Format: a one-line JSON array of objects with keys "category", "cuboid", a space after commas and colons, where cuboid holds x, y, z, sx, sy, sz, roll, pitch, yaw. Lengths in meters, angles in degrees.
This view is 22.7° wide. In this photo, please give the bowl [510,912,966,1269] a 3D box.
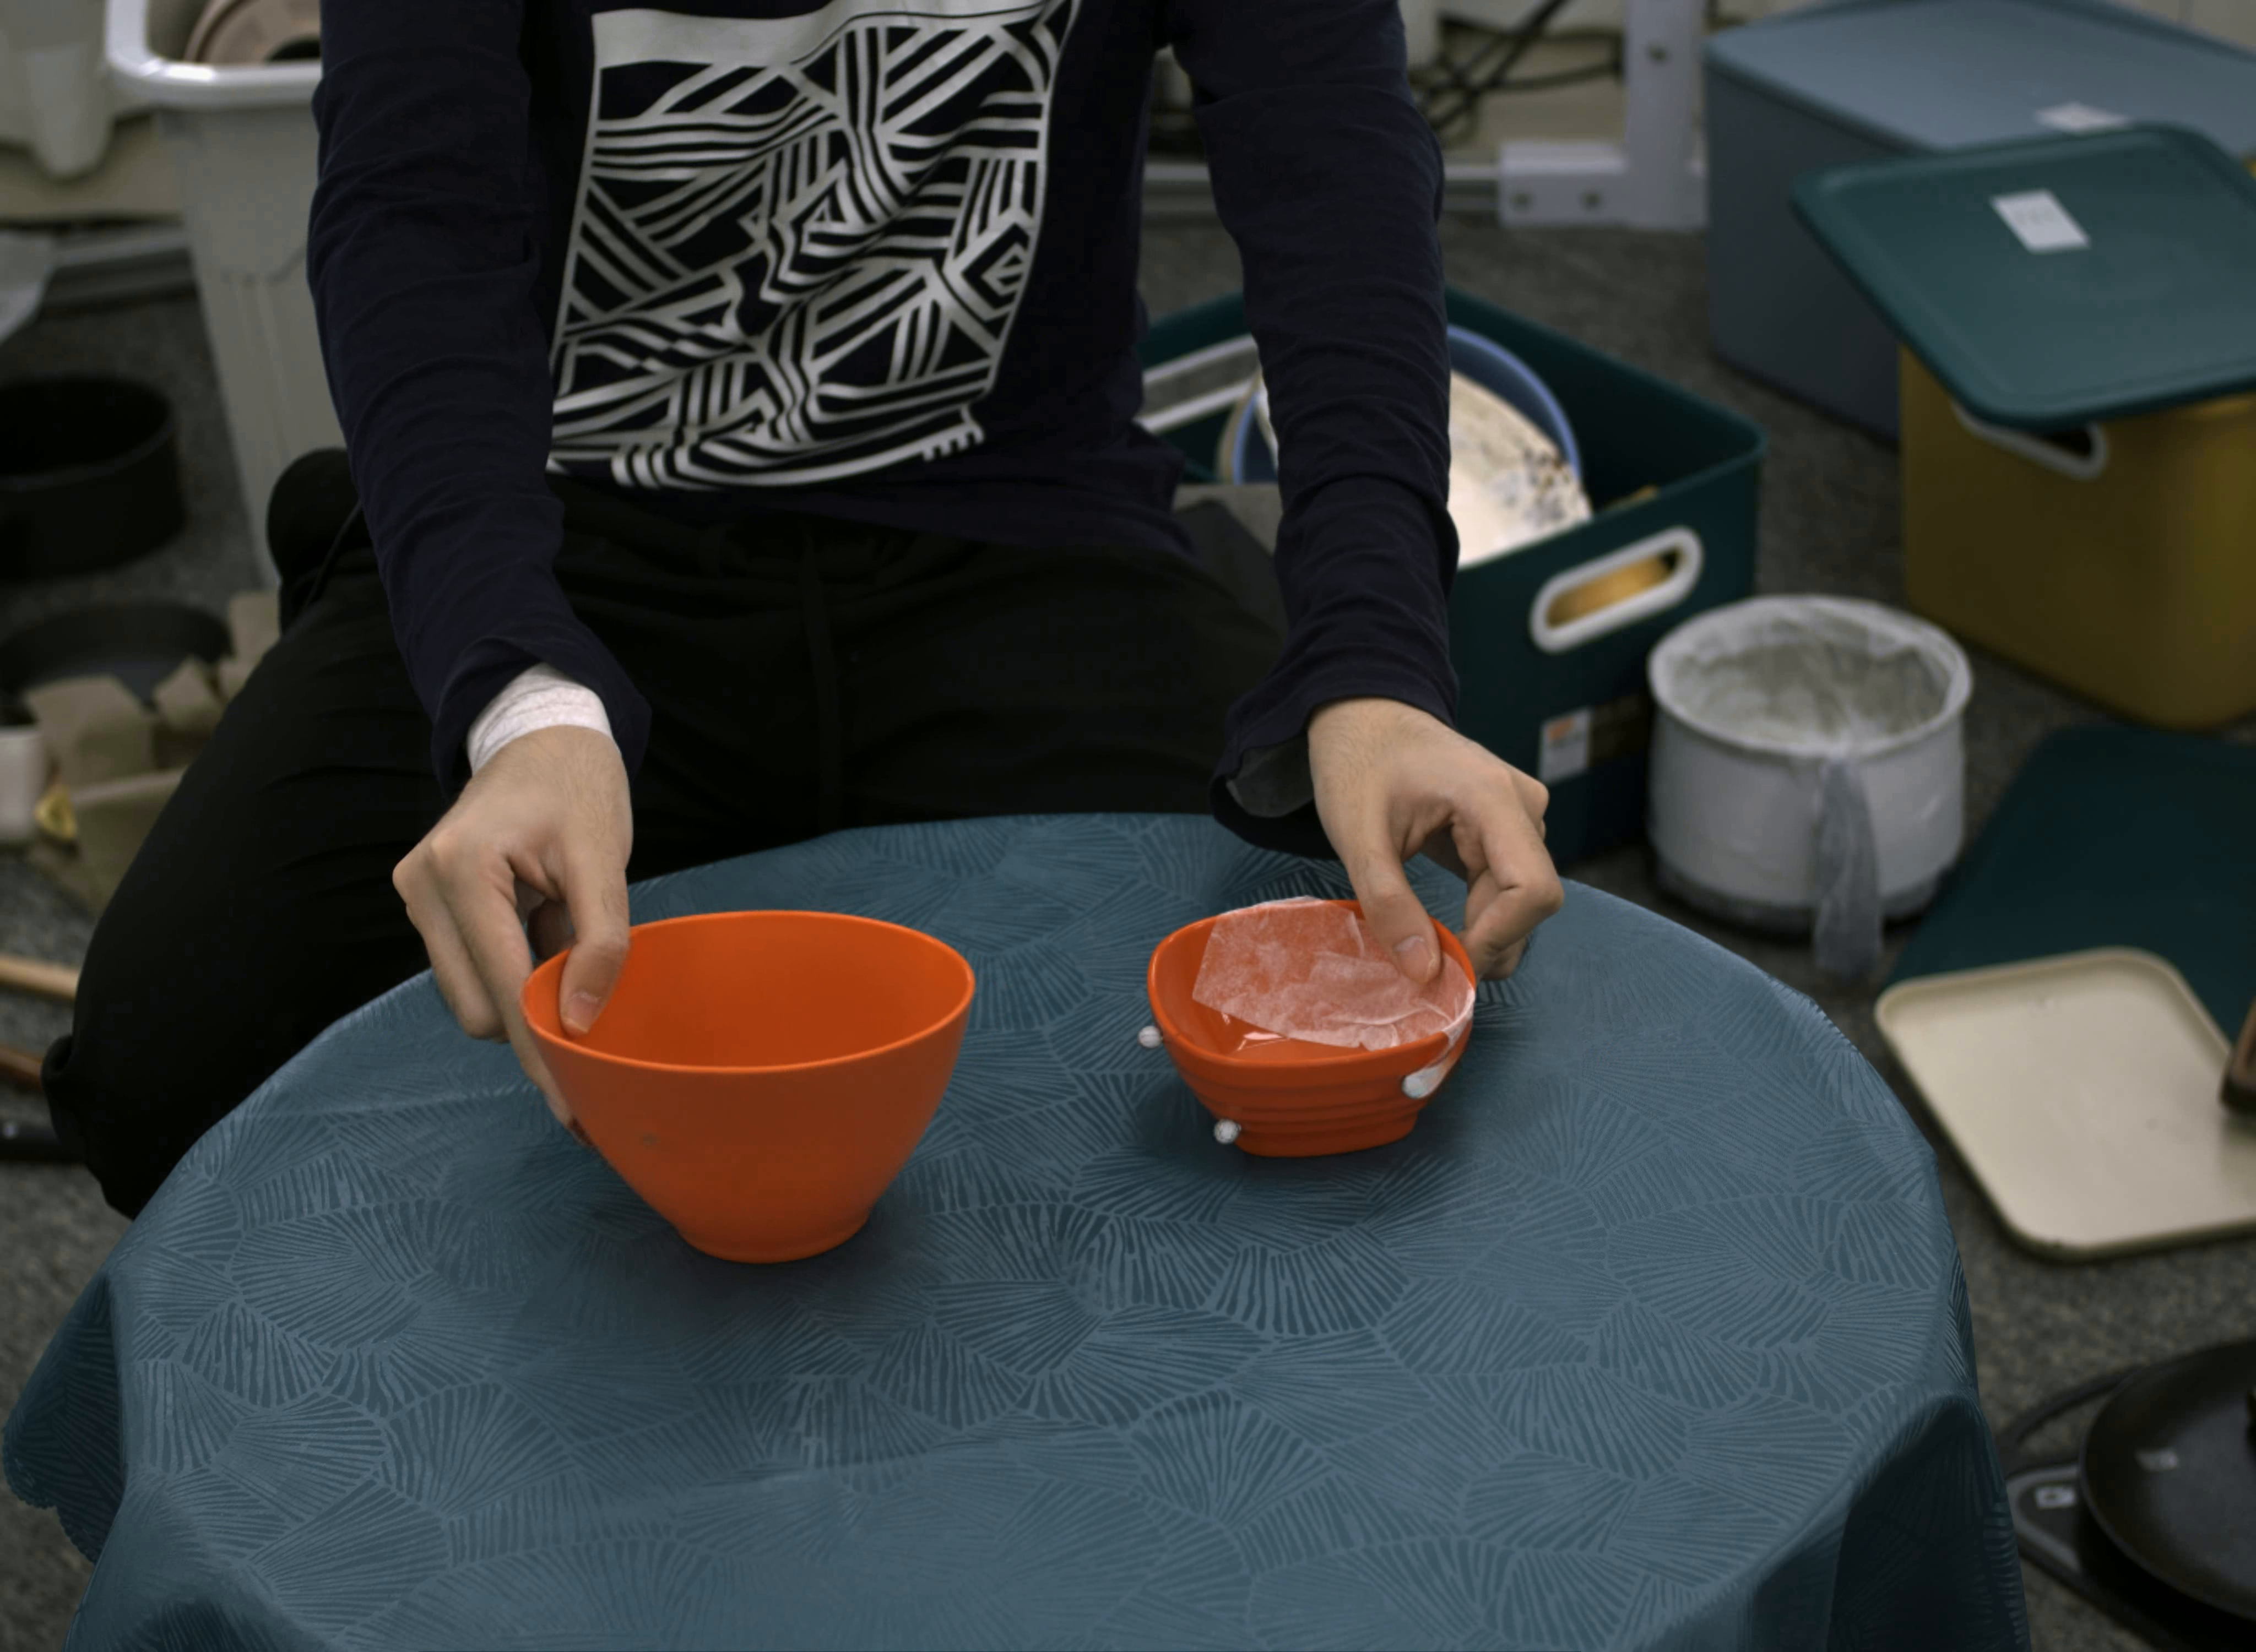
[{"category": "bowl", "cuboid": [-0.123, 0.090, 1.827, 0.147, 0.103, 0.150, -2, 27, 2]}]

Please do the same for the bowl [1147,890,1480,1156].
[{"category": "bowl", "cuboid": [0.063, 0.071, 1.895, 0.118, 0.051, 0.121, -2, 29, 2]}]
